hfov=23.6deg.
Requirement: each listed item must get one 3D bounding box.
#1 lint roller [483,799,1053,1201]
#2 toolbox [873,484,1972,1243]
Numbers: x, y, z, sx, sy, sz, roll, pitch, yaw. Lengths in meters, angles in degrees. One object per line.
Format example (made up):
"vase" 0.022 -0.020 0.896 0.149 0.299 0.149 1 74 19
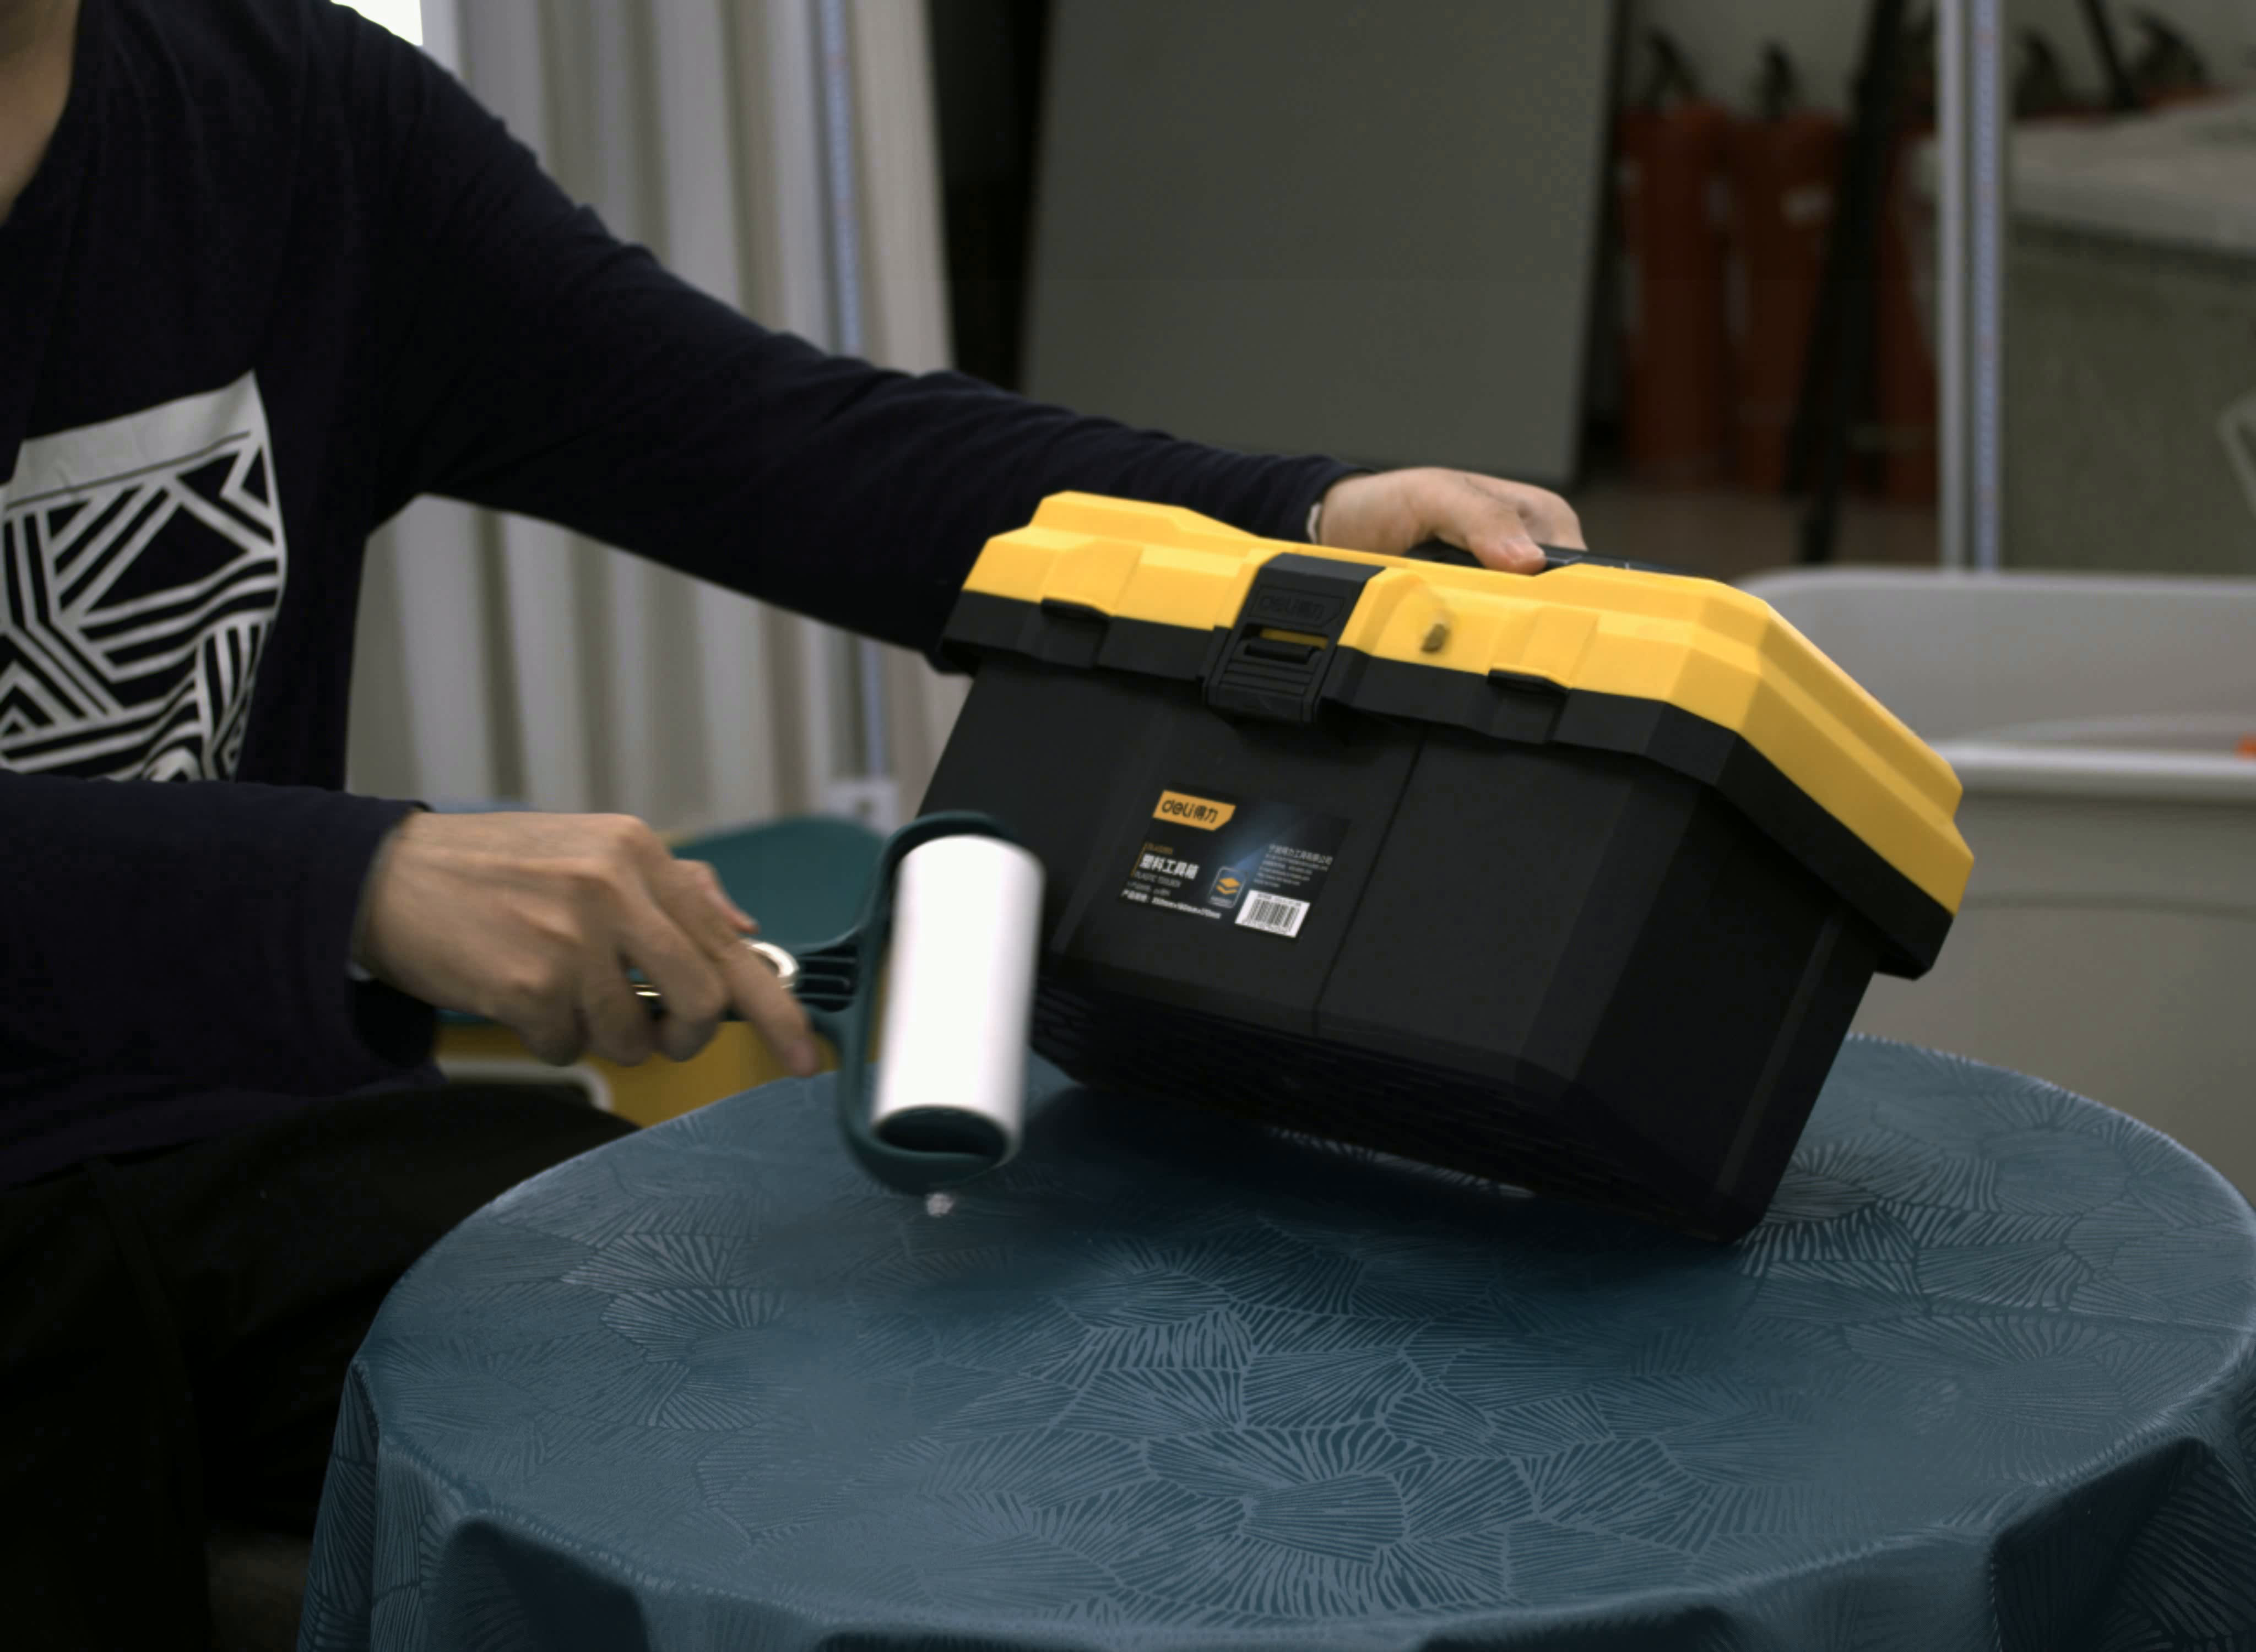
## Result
"lint roller" -0.114 0.046 1.716 0.177 0.135 0.048 7 -30 -6
"toolbox" 0.084 0.008 1.763 0.355 0.174 0.178 10 -19 46
